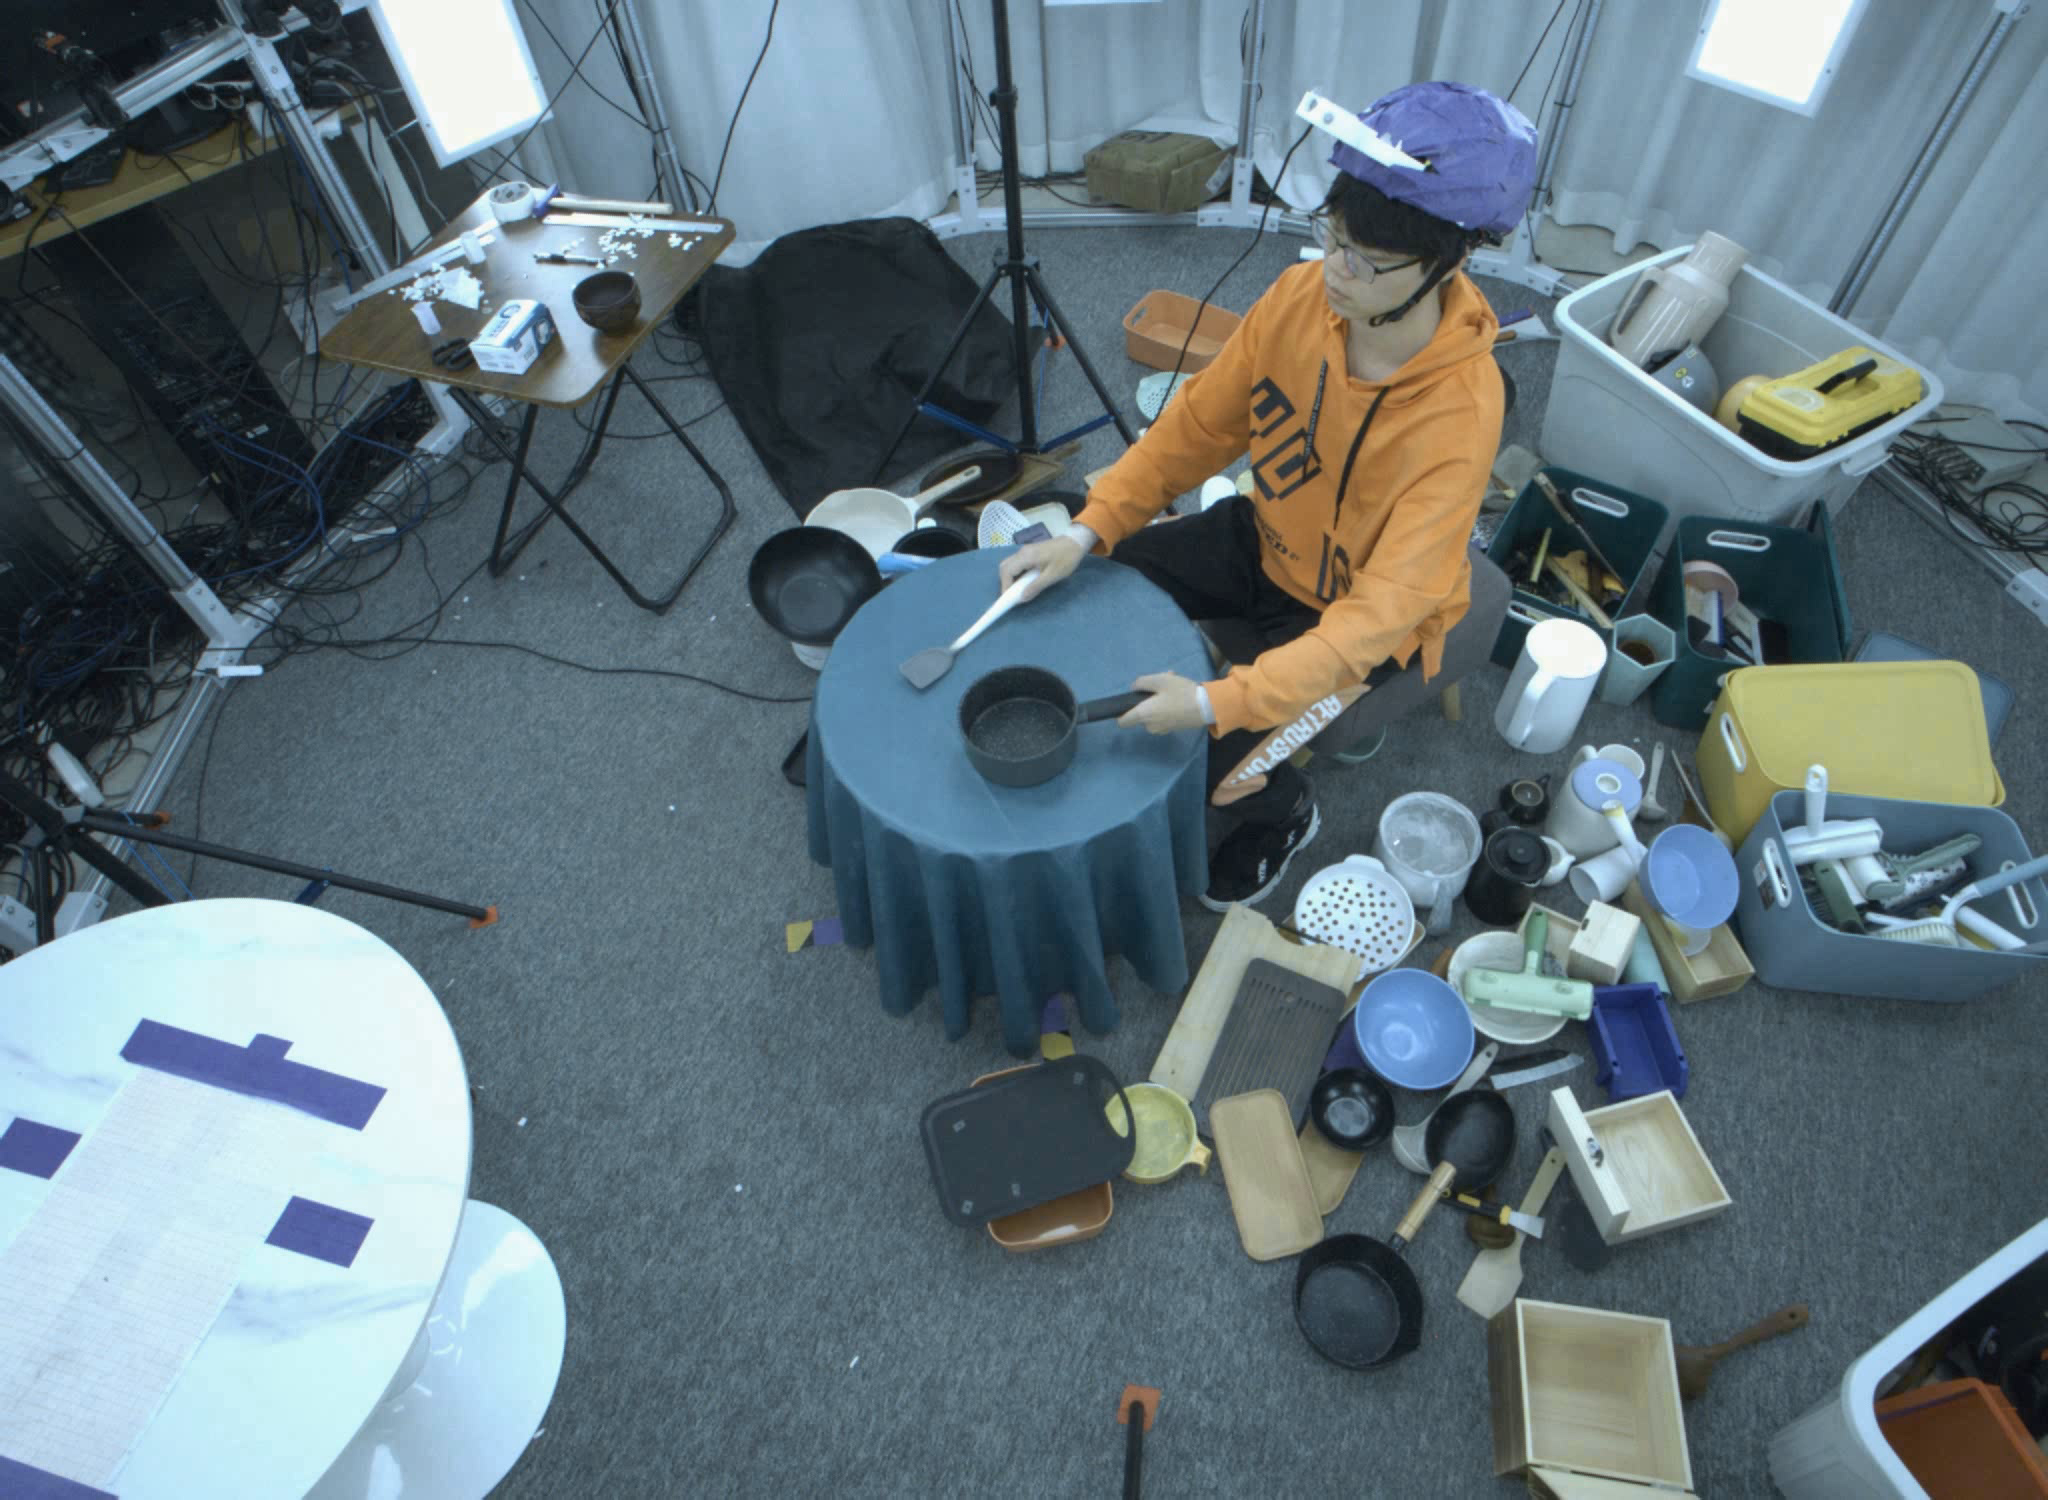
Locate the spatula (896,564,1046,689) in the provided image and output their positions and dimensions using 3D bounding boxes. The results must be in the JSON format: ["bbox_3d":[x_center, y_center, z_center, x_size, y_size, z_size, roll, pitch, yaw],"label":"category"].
[{"bbox_3d":[-0.077,-0.192,1.901,0.289,0.032,0.058,-42,82,-19],"label":"spatula"}]

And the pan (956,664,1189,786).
[{"bbox_3d":[0.072,-0.043,1.759,0.328,0.087,0.170,-5,55,2],"label":"pan"}]
